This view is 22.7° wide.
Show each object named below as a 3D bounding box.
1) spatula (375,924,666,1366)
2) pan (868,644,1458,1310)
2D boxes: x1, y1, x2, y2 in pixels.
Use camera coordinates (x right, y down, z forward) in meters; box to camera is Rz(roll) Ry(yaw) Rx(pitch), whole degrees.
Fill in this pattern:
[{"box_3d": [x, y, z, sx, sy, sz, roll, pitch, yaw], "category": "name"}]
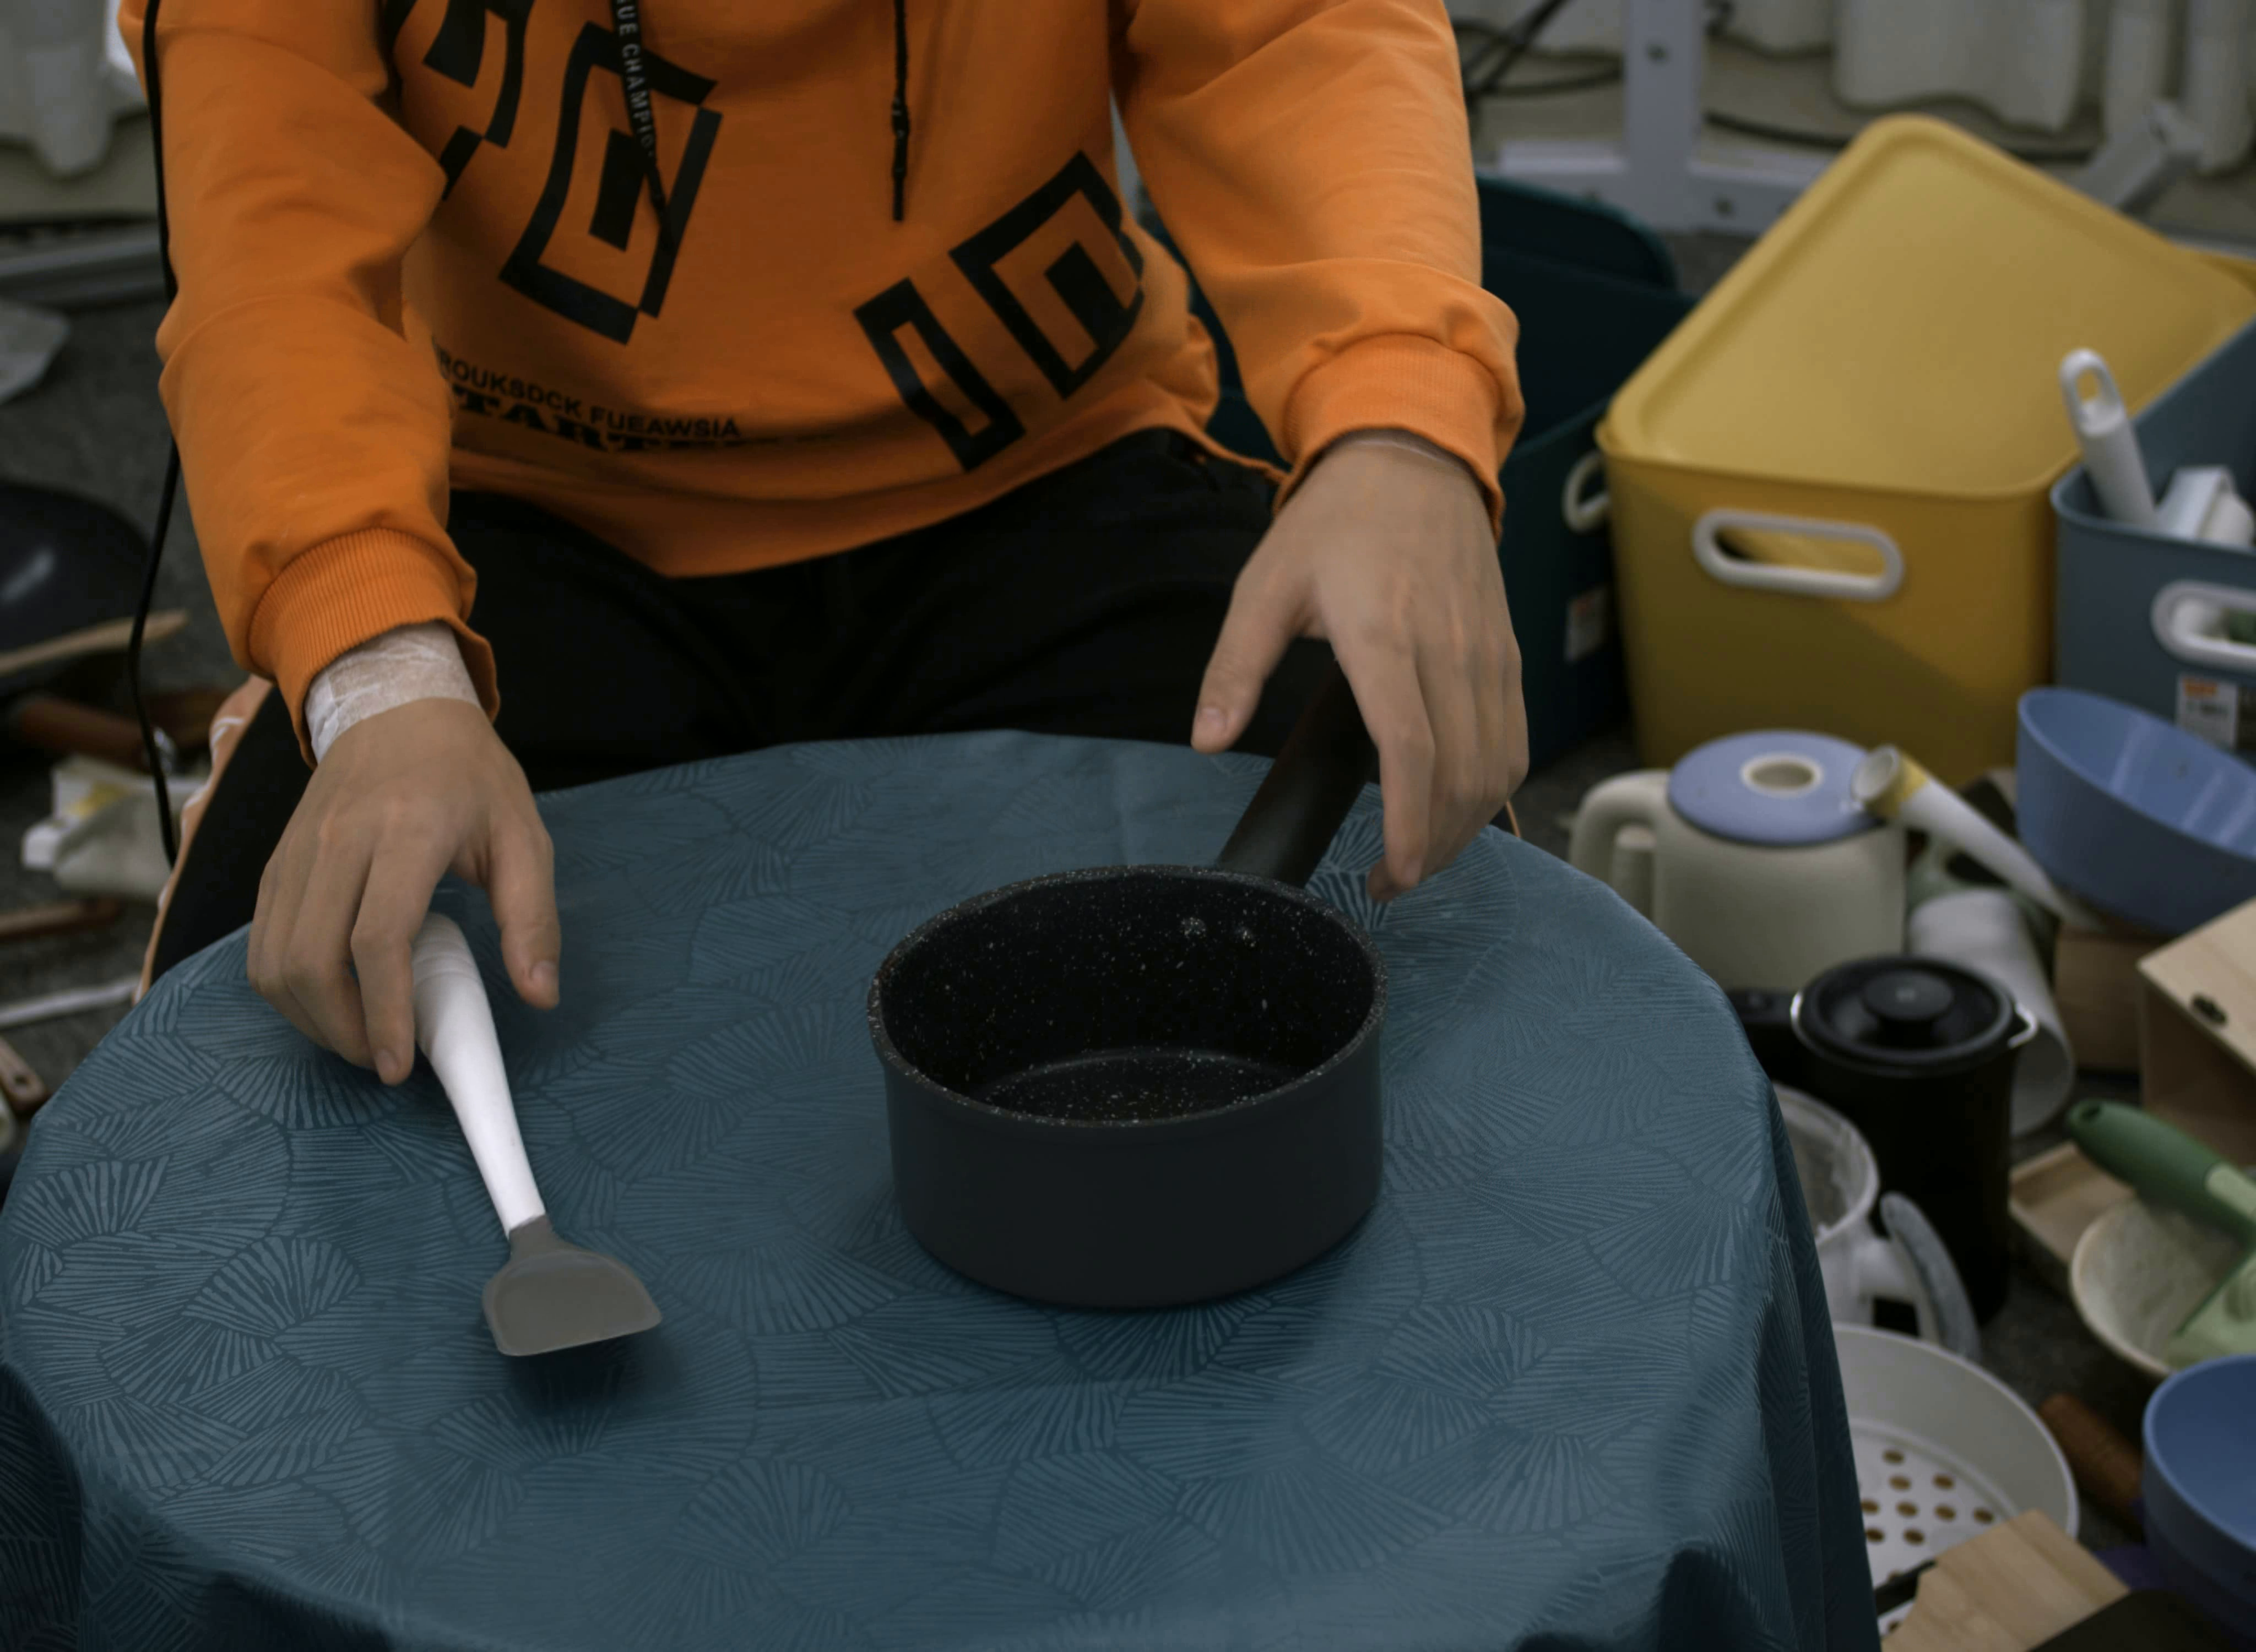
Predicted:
[{"box_3d": [-0.209, 0.110, 1.872, 0.059, 0.032, 0.290, -7, 27, -15], "category": "spatula"}, {"box_3d": [0.035, 0.047, 1.911, 0.171, 0.085, 0.334, 10, 32, 23], "category": "pan"}]
